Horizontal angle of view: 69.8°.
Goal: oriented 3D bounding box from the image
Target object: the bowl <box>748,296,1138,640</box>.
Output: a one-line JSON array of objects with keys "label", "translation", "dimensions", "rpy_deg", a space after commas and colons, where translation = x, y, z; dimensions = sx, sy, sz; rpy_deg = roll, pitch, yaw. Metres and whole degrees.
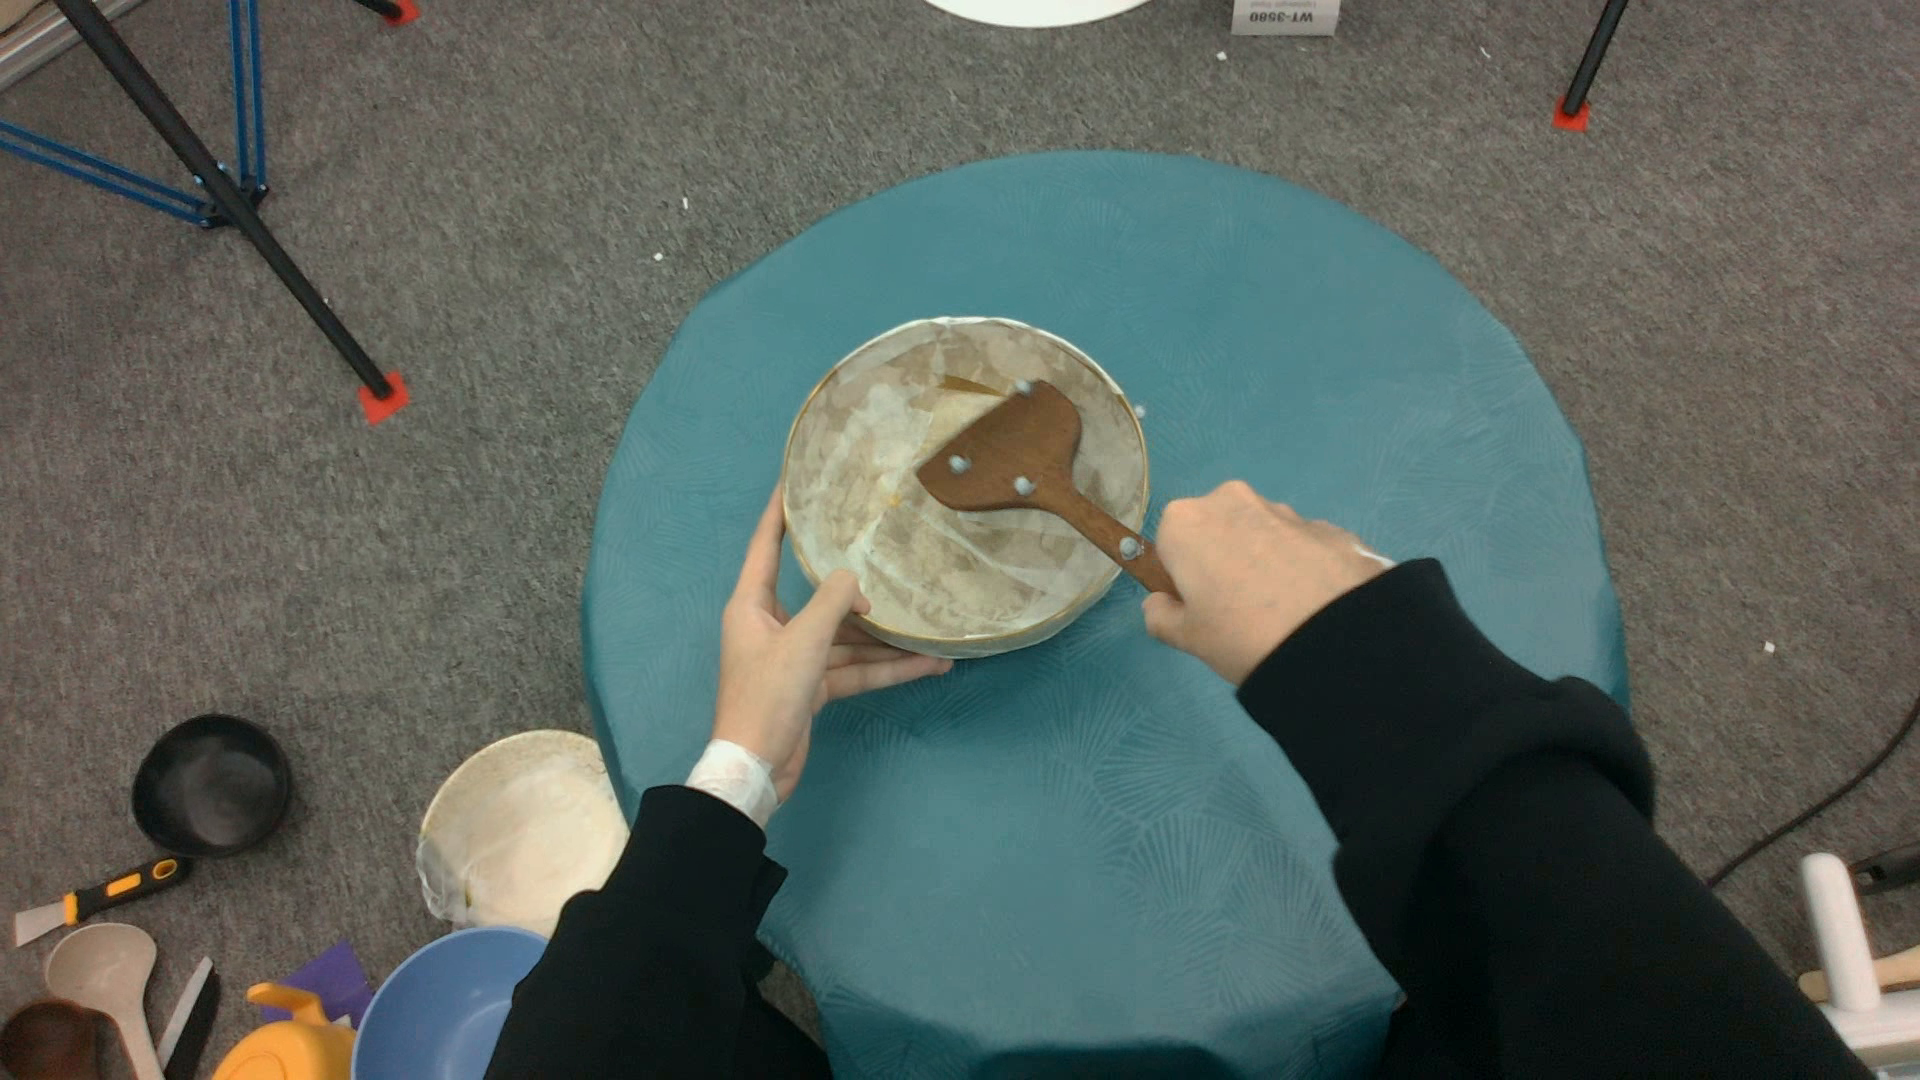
[{"label": "bowl", "translation": [-0.010, -0.026, 0.775], "dimensions": [0.215, 0.094, 0.215], "rpy_deg": [0, 64, 0]}]

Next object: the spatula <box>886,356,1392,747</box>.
[{"label": "spatula", "translation": [0.066, -0.008, 0.626], "dimensions": [0.096, 0.016, 0.386], "rpy_deg": [-36, 32, -7]}]
